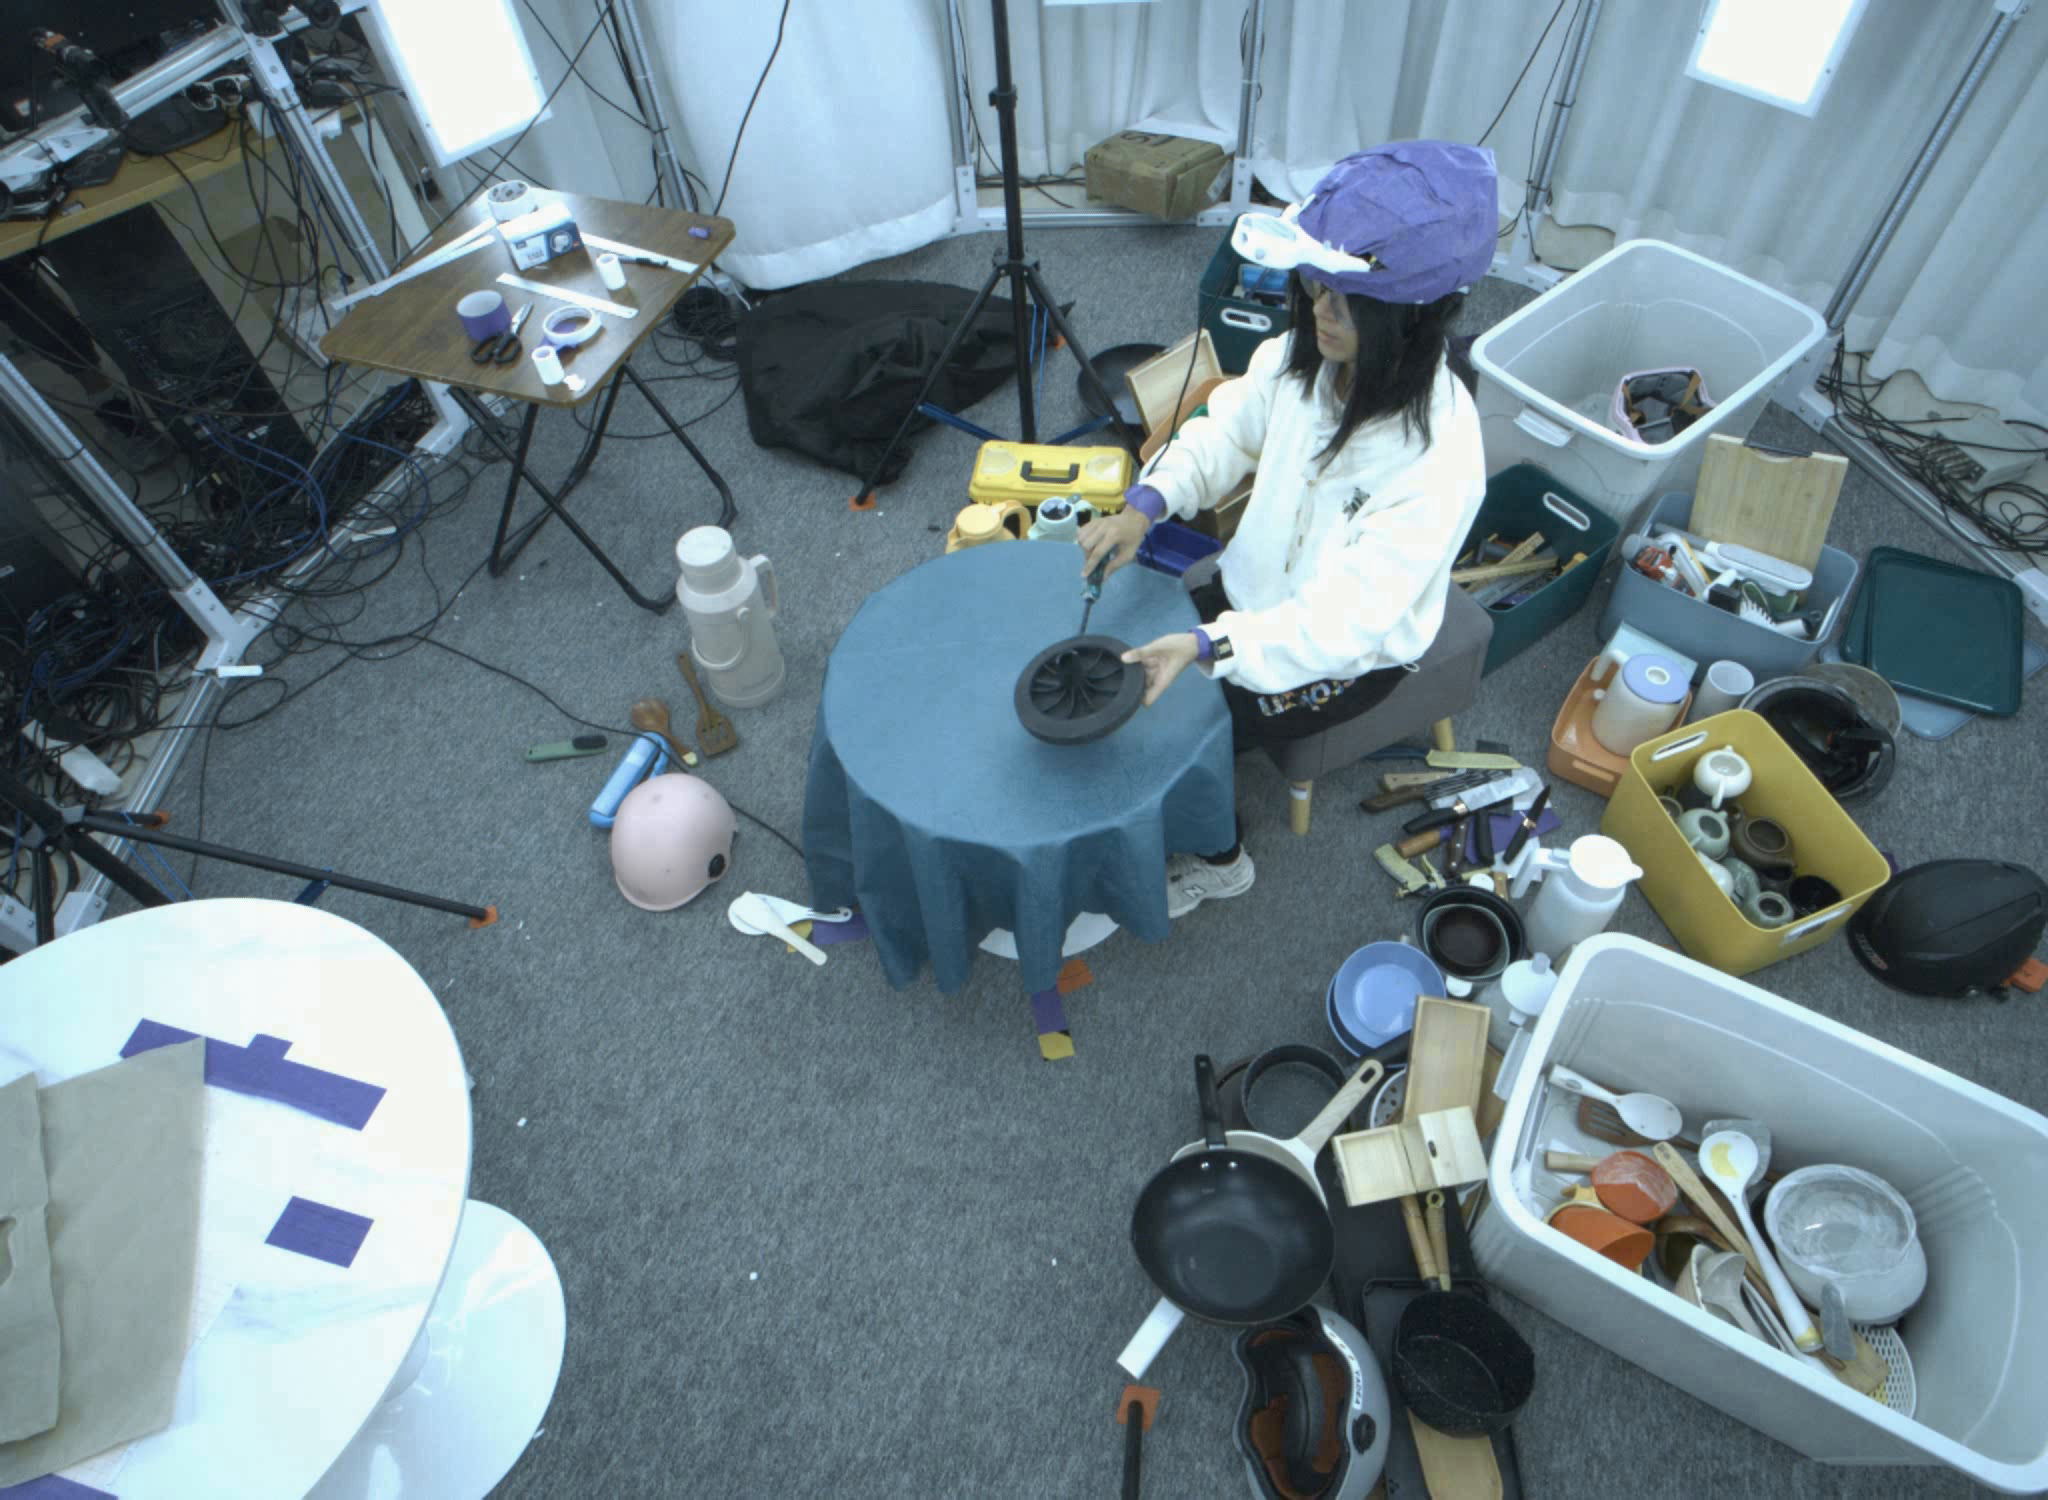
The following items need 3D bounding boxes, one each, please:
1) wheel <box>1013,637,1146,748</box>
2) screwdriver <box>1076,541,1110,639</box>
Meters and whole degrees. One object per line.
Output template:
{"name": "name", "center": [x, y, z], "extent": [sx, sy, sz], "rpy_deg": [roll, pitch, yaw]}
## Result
{"name": "wheel", "center": [0.069, -0.095, 1.695], "extent": [0.188, 0.080, 0.185], "rpy_deg": [-10, 50, 15]}
{"name": "screwdriver", "center": [0.097, -0.236, 1.819], "extent": [0.033, 0.034, 0.189], "rpy_deg": [10, 58, 10]}
